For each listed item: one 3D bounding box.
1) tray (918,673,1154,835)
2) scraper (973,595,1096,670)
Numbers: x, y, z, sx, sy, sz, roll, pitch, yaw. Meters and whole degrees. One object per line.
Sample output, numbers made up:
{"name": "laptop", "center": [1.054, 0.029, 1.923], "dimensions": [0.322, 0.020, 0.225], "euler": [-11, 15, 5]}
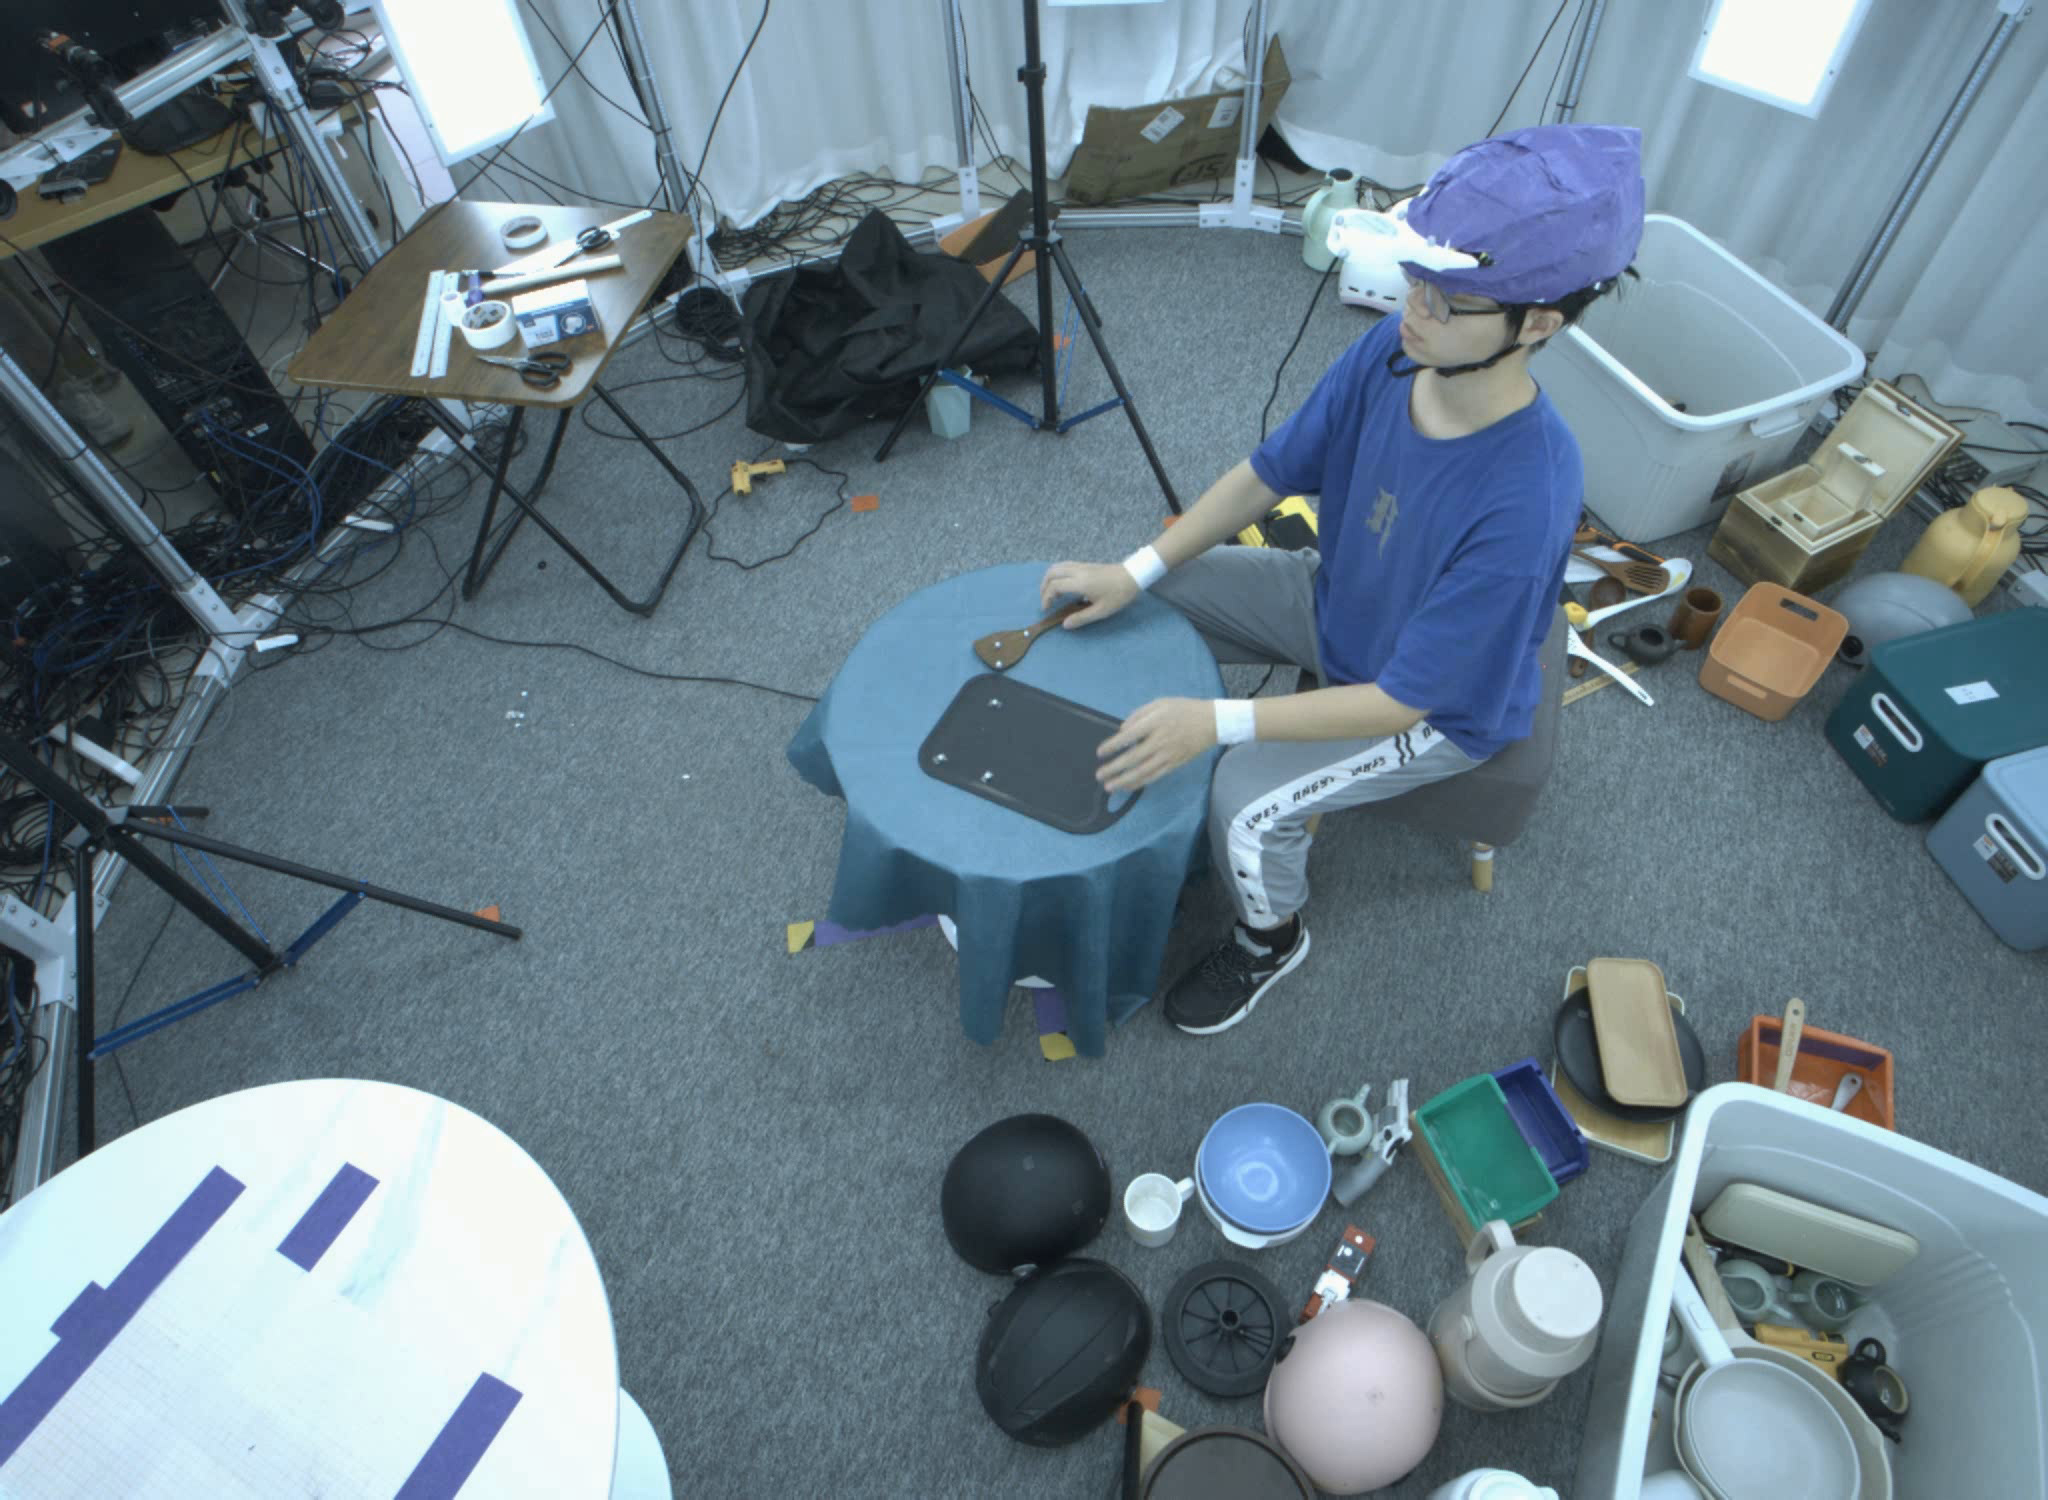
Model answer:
{"name": "tray", "center": [0.023, 0.002, 1.771], "dimensions": [0.321, 0.010, 0.211], "euler": [22, 58, 17]}
{"name": "scraper", "center": [0.022, -0.189, 1.908], "dimensions": [0.213, 0.011, 0.074], "euler": [-30, 60, -20]}
